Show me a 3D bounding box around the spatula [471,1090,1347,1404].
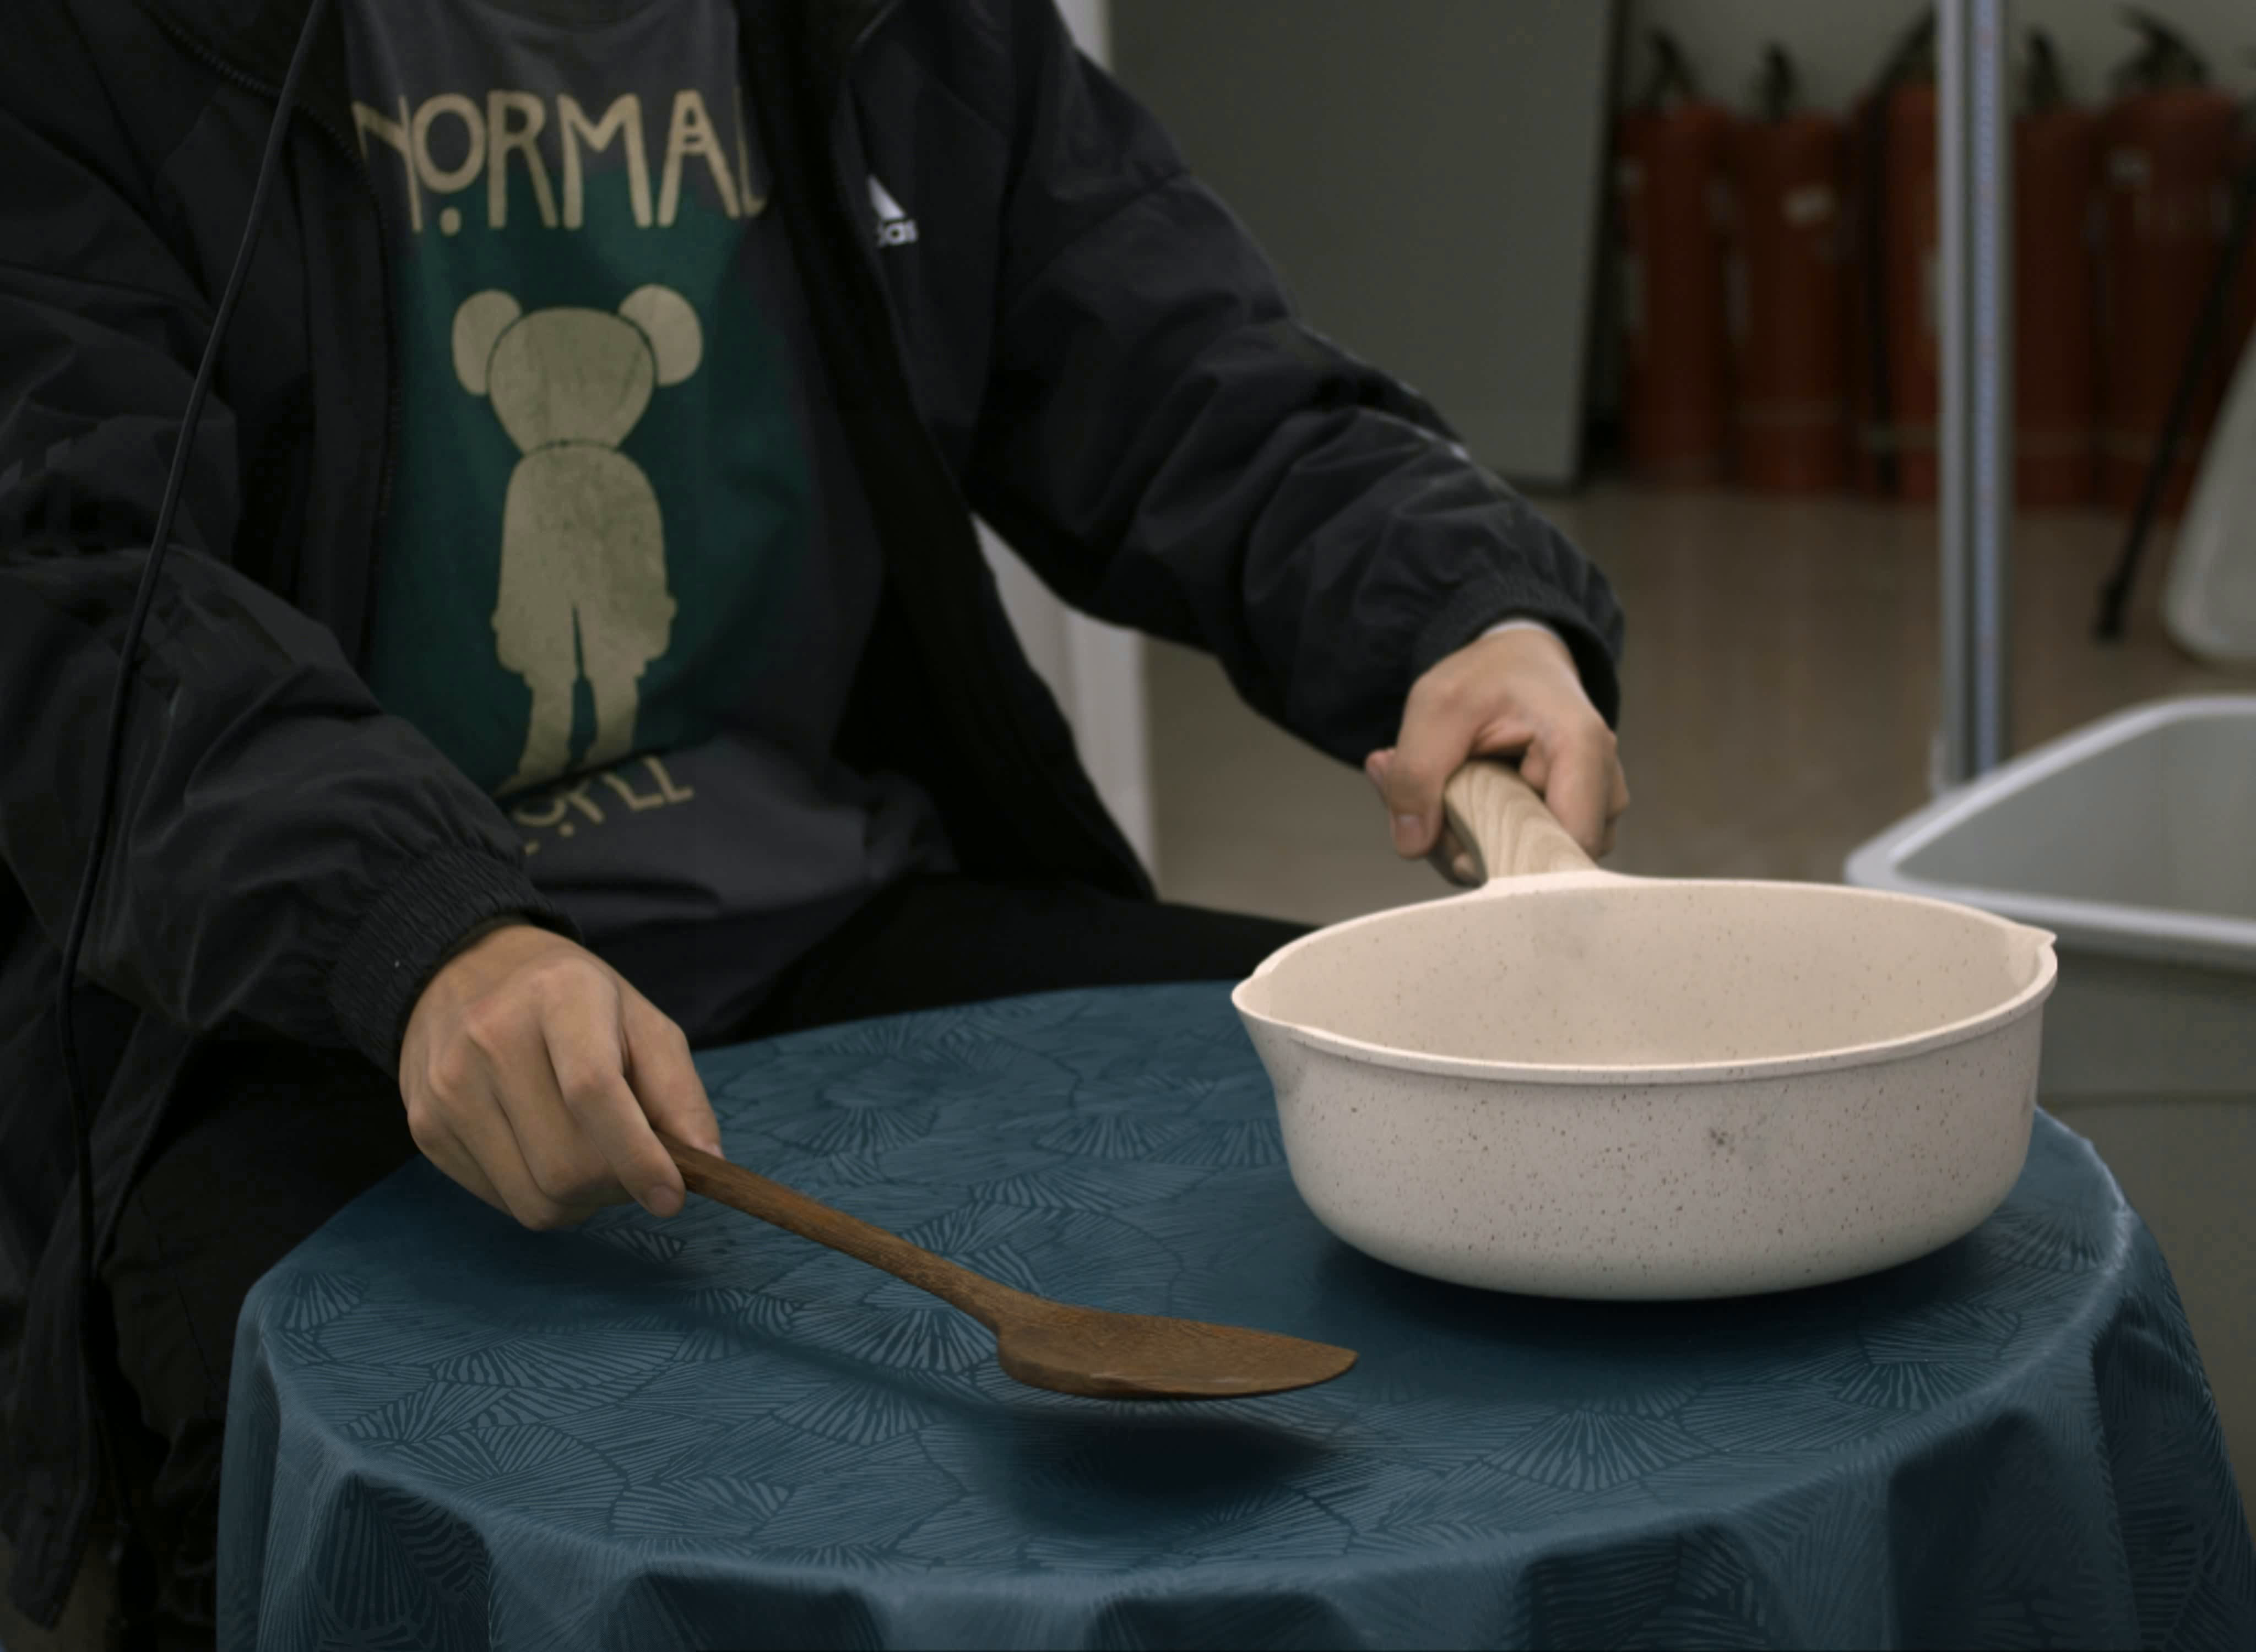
[{"bbox_3d":[-0.087,0.123,1.633,0.094,0.016,0.390,-3,13,-40],"label":"spatula"}]

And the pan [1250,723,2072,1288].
[{"bbox_3d":[0.153,0.053,1.759,0.259,0.103,0.437,-7,12,-7],"label":"pan"}]
